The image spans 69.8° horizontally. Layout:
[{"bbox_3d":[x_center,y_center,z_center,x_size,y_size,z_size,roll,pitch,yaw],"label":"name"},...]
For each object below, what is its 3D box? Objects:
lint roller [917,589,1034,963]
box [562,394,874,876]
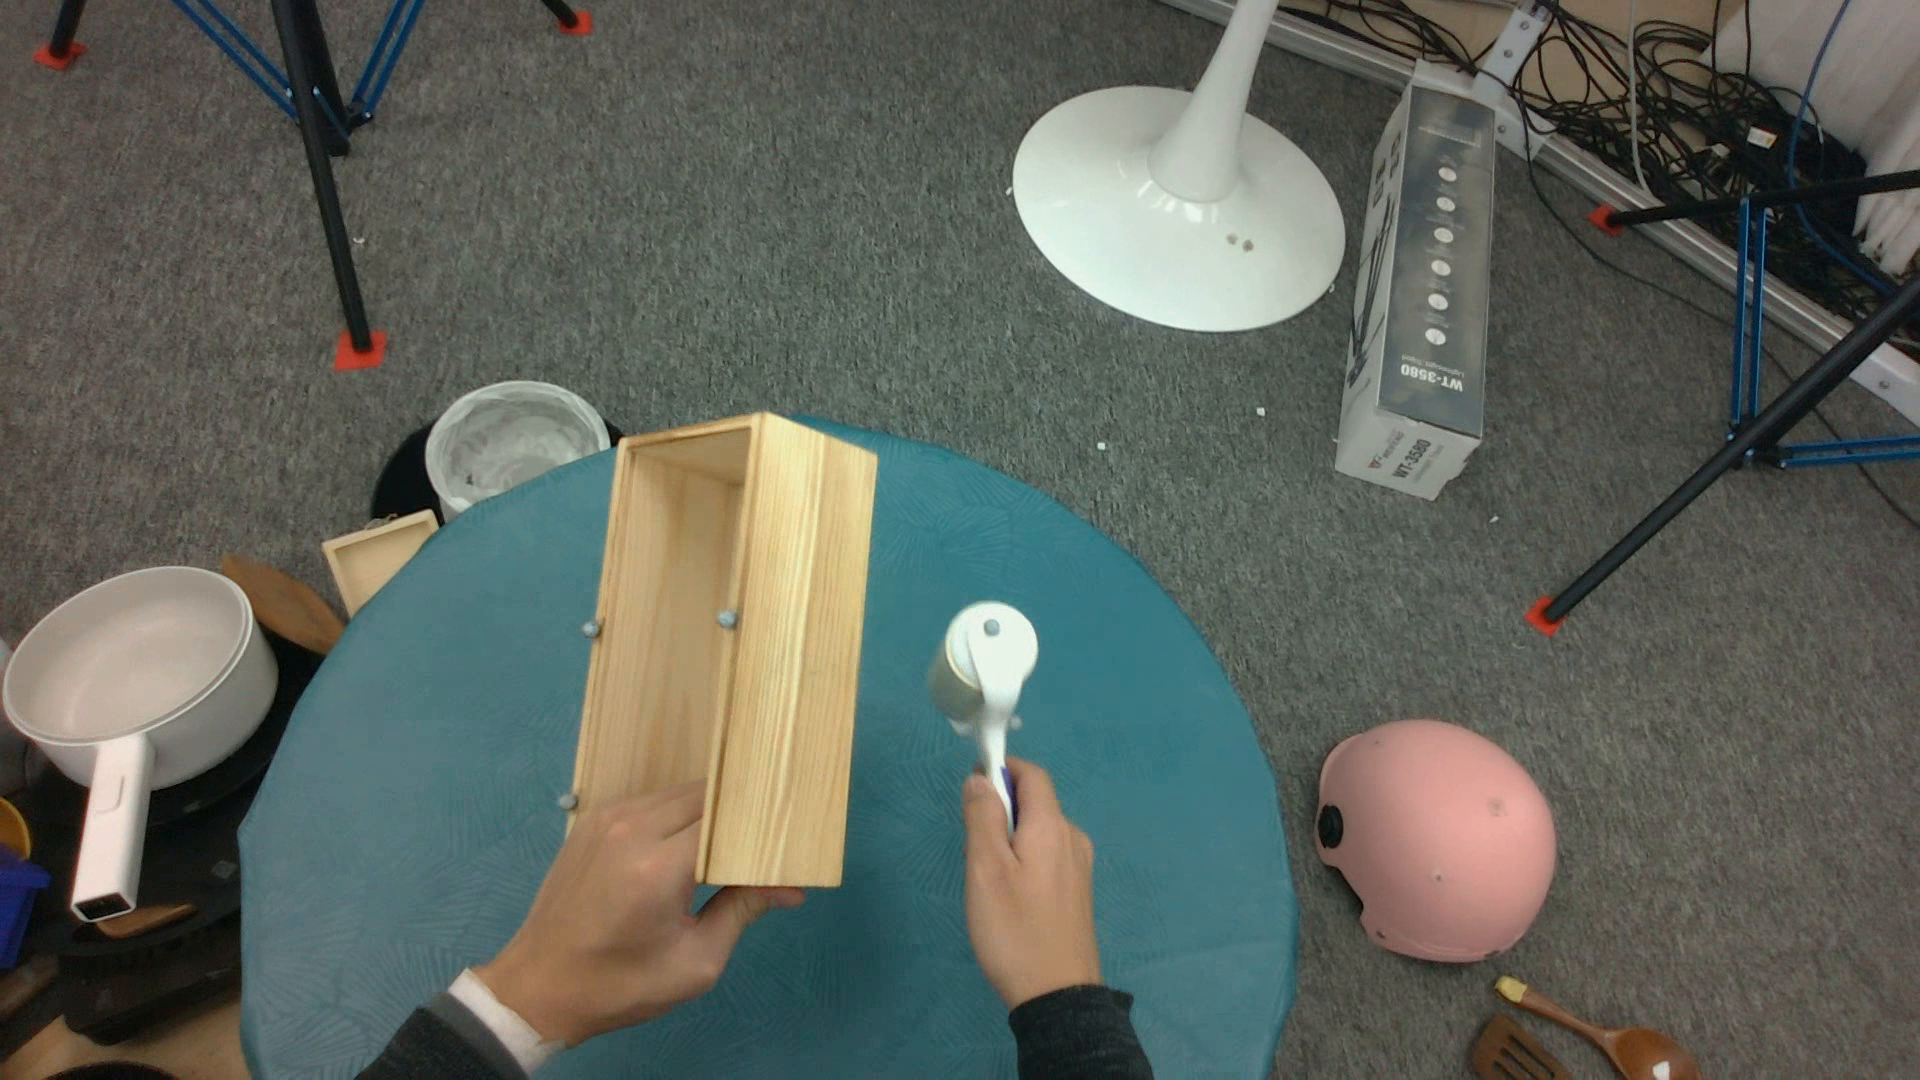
[{"bbox_3d":[0.024,0.120,0.705,0.050,0.132,0.181,-14,74,-13],"label":"lint roller"},{"bbox_3d":[-0.114,0.048,0.659,0.080,0.107,0.212,18,71,-48],"label":"box"}]
